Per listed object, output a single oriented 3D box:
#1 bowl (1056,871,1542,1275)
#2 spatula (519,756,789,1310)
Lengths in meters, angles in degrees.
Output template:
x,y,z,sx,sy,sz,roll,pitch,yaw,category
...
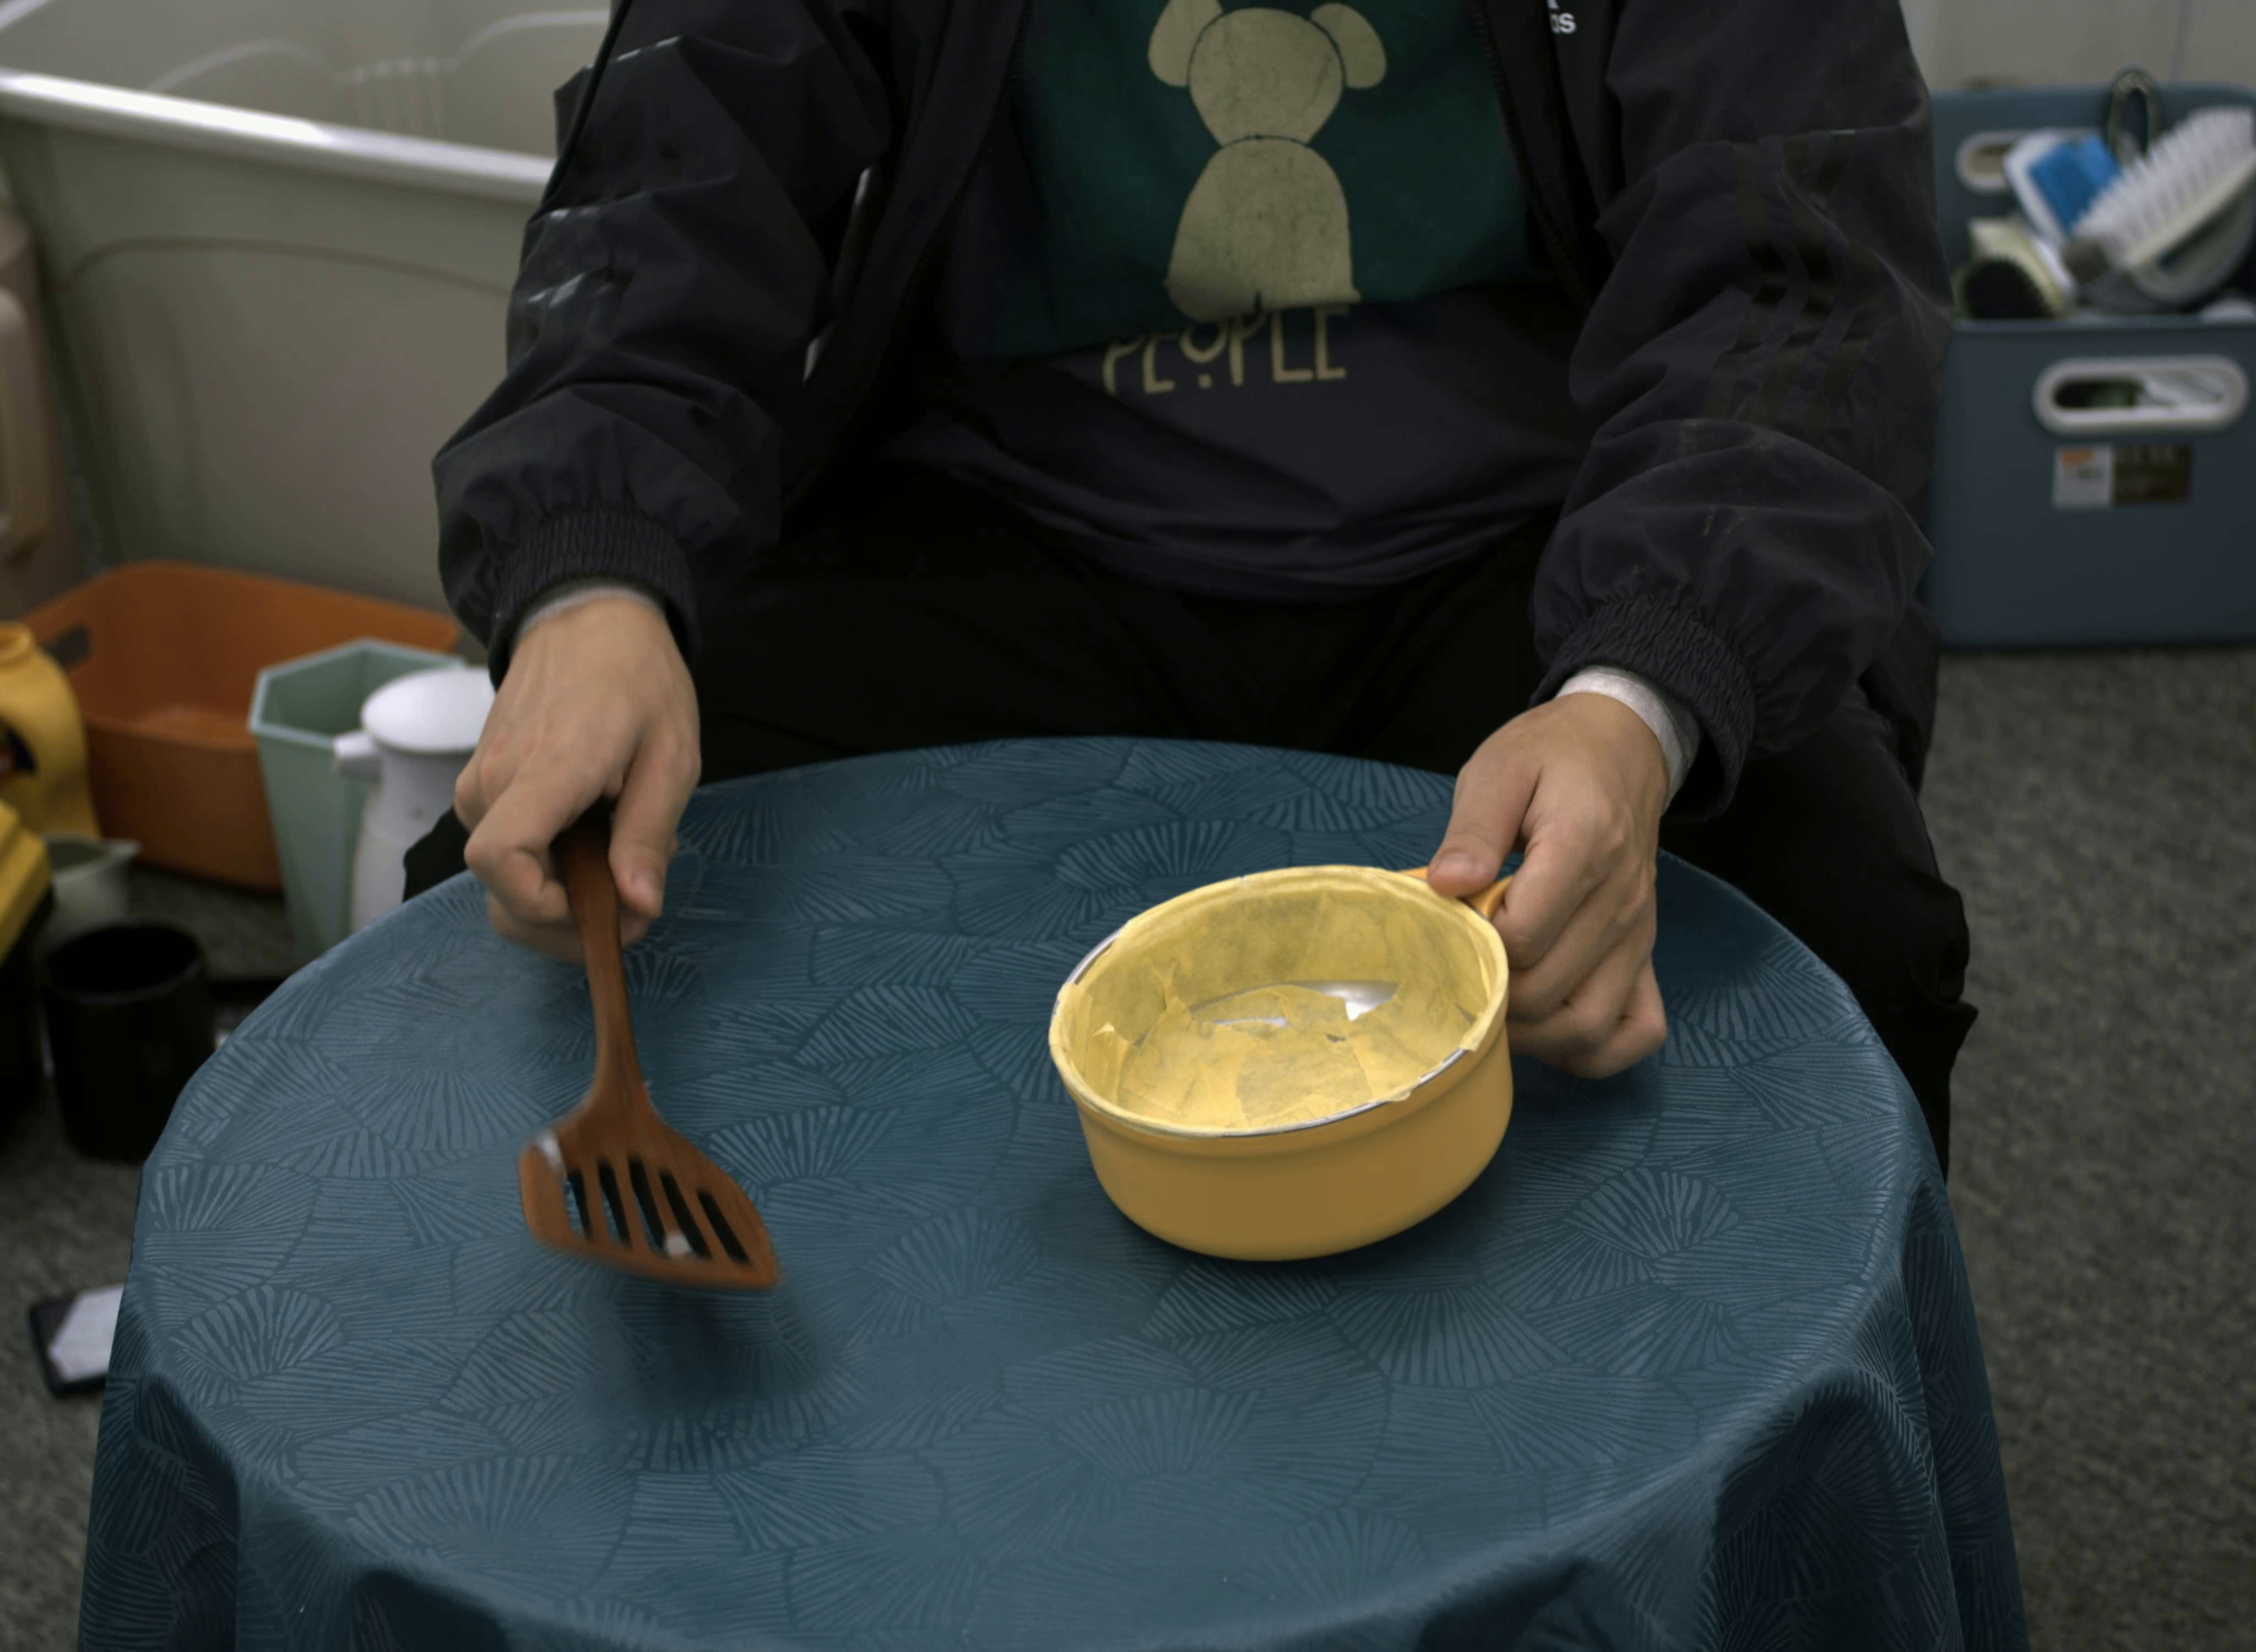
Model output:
x,y,z,sx,sy,sz,roll,pitch,yaw,category
0.067,0.079,1.853,0.152,0.073,0.182,20,42,40,bowl
-0.172,0.067,1.902,0.085,0.024,0.392,9,25,-13,spatula
